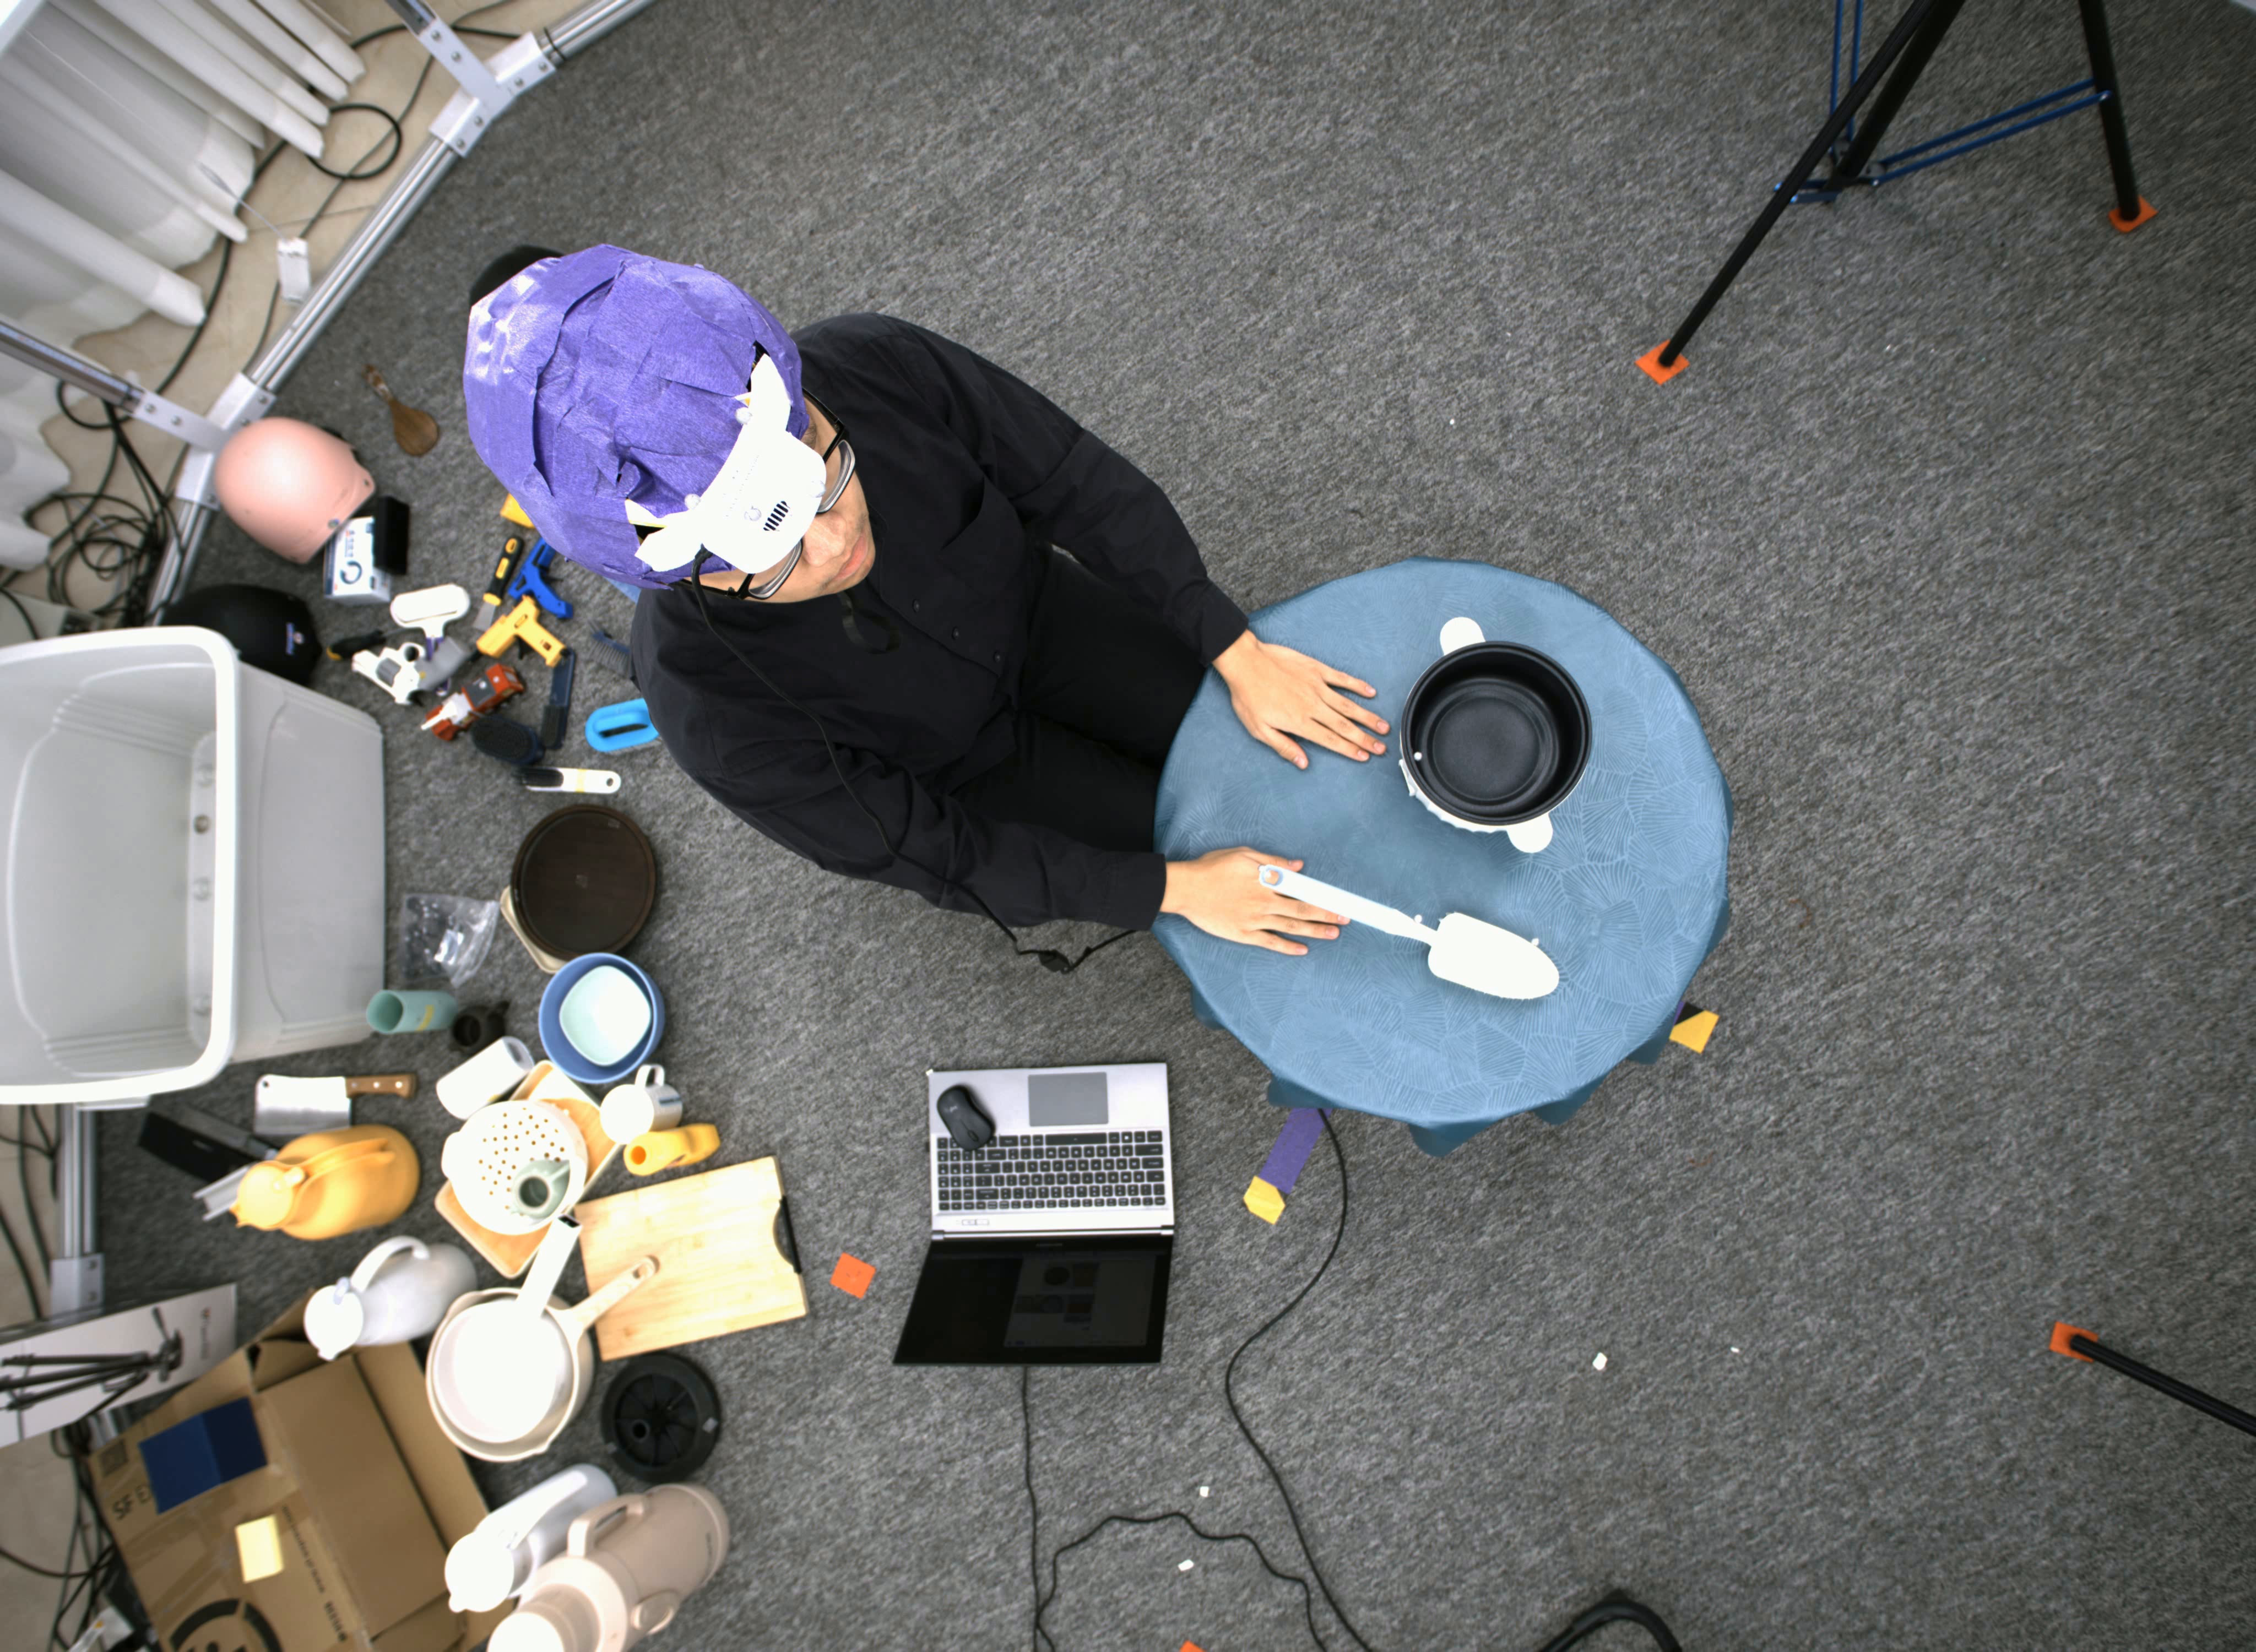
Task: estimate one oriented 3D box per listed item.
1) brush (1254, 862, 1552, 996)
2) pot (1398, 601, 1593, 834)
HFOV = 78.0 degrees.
[{"bbox_3d":[0.279,0.096,1.412,0.326,0.087,0.081,20,53,-1],"label":"brush"},{"bbox_3d":[0.367,-0.104,1.374,0.192,0.142,0.239,-20,84,10],"label":"pot"}]
